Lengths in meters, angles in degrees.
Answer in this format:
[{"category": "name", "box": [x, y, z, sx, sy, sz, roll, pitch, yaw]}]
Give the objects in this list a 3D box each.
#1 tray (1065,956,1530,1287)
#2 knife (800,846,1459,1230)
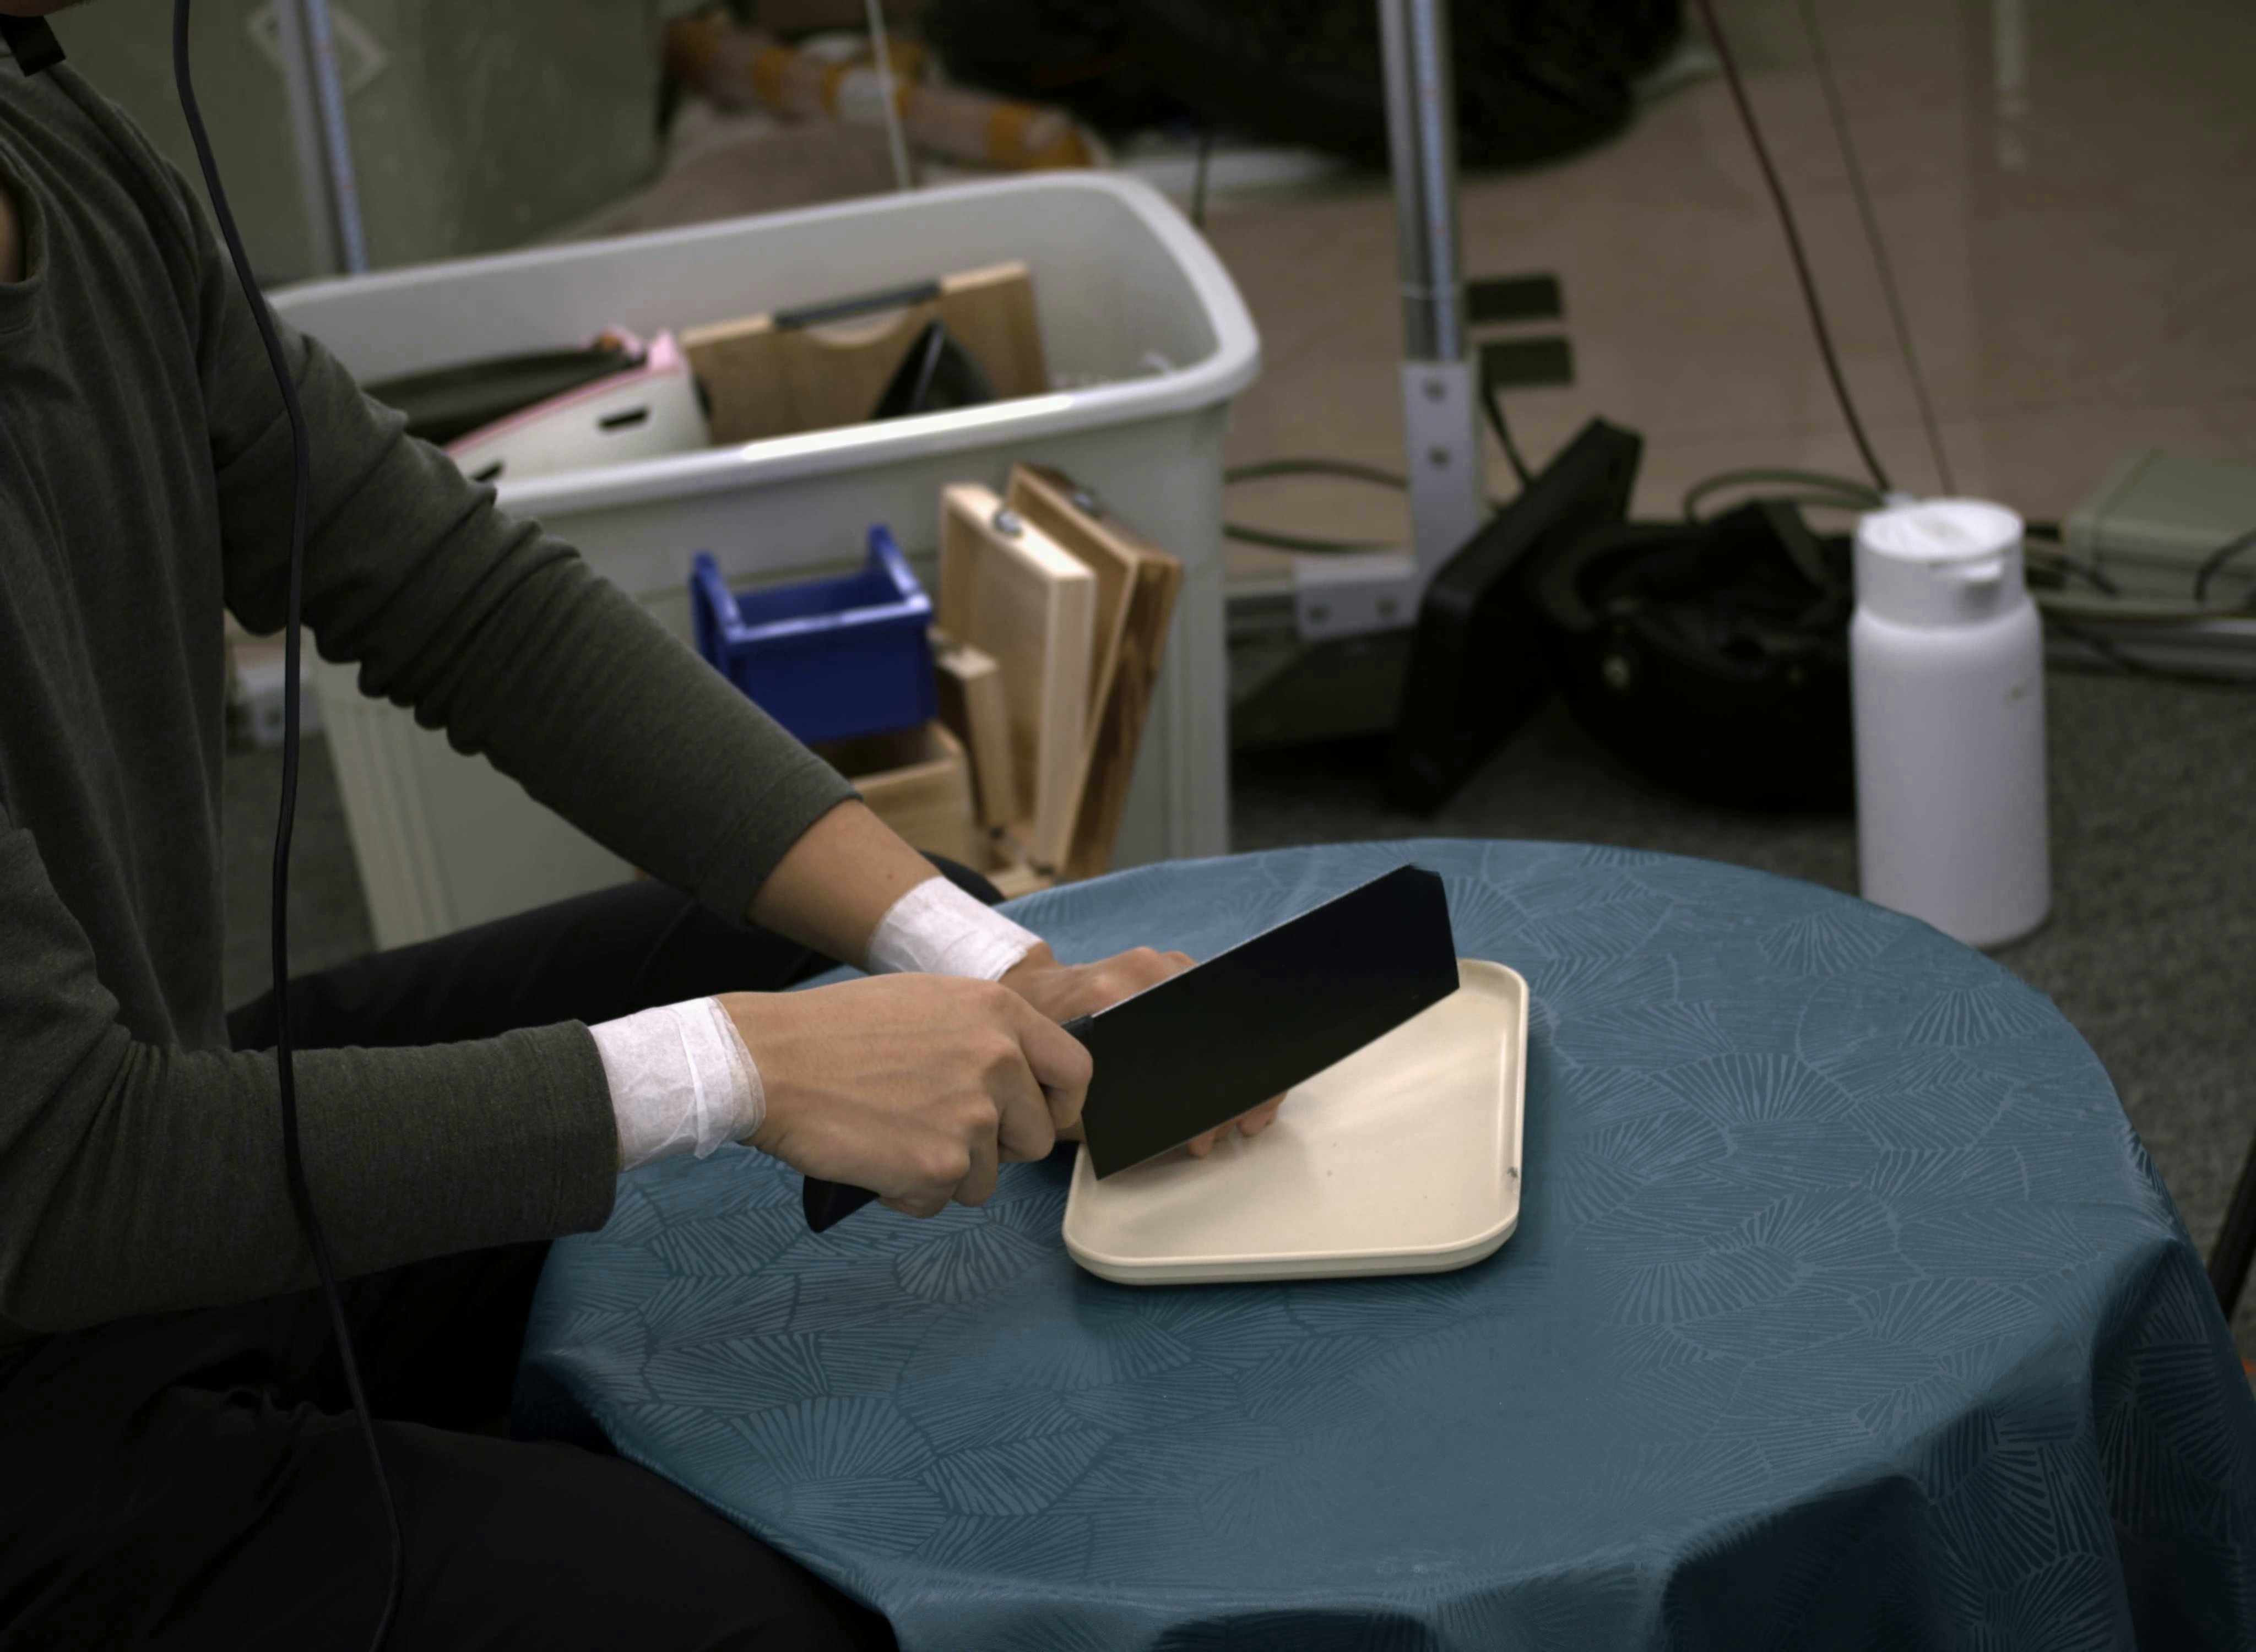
[{"category": "tray", "box": [0.068, 0.113, 2.170, 0.171, 0.018, 0.236, -4, 25, 7]}, {"category": "knife", "box": [0.005, 0.087, 2.118, 0.300, 0.082, 0.020, -21, 26, -30]}]
